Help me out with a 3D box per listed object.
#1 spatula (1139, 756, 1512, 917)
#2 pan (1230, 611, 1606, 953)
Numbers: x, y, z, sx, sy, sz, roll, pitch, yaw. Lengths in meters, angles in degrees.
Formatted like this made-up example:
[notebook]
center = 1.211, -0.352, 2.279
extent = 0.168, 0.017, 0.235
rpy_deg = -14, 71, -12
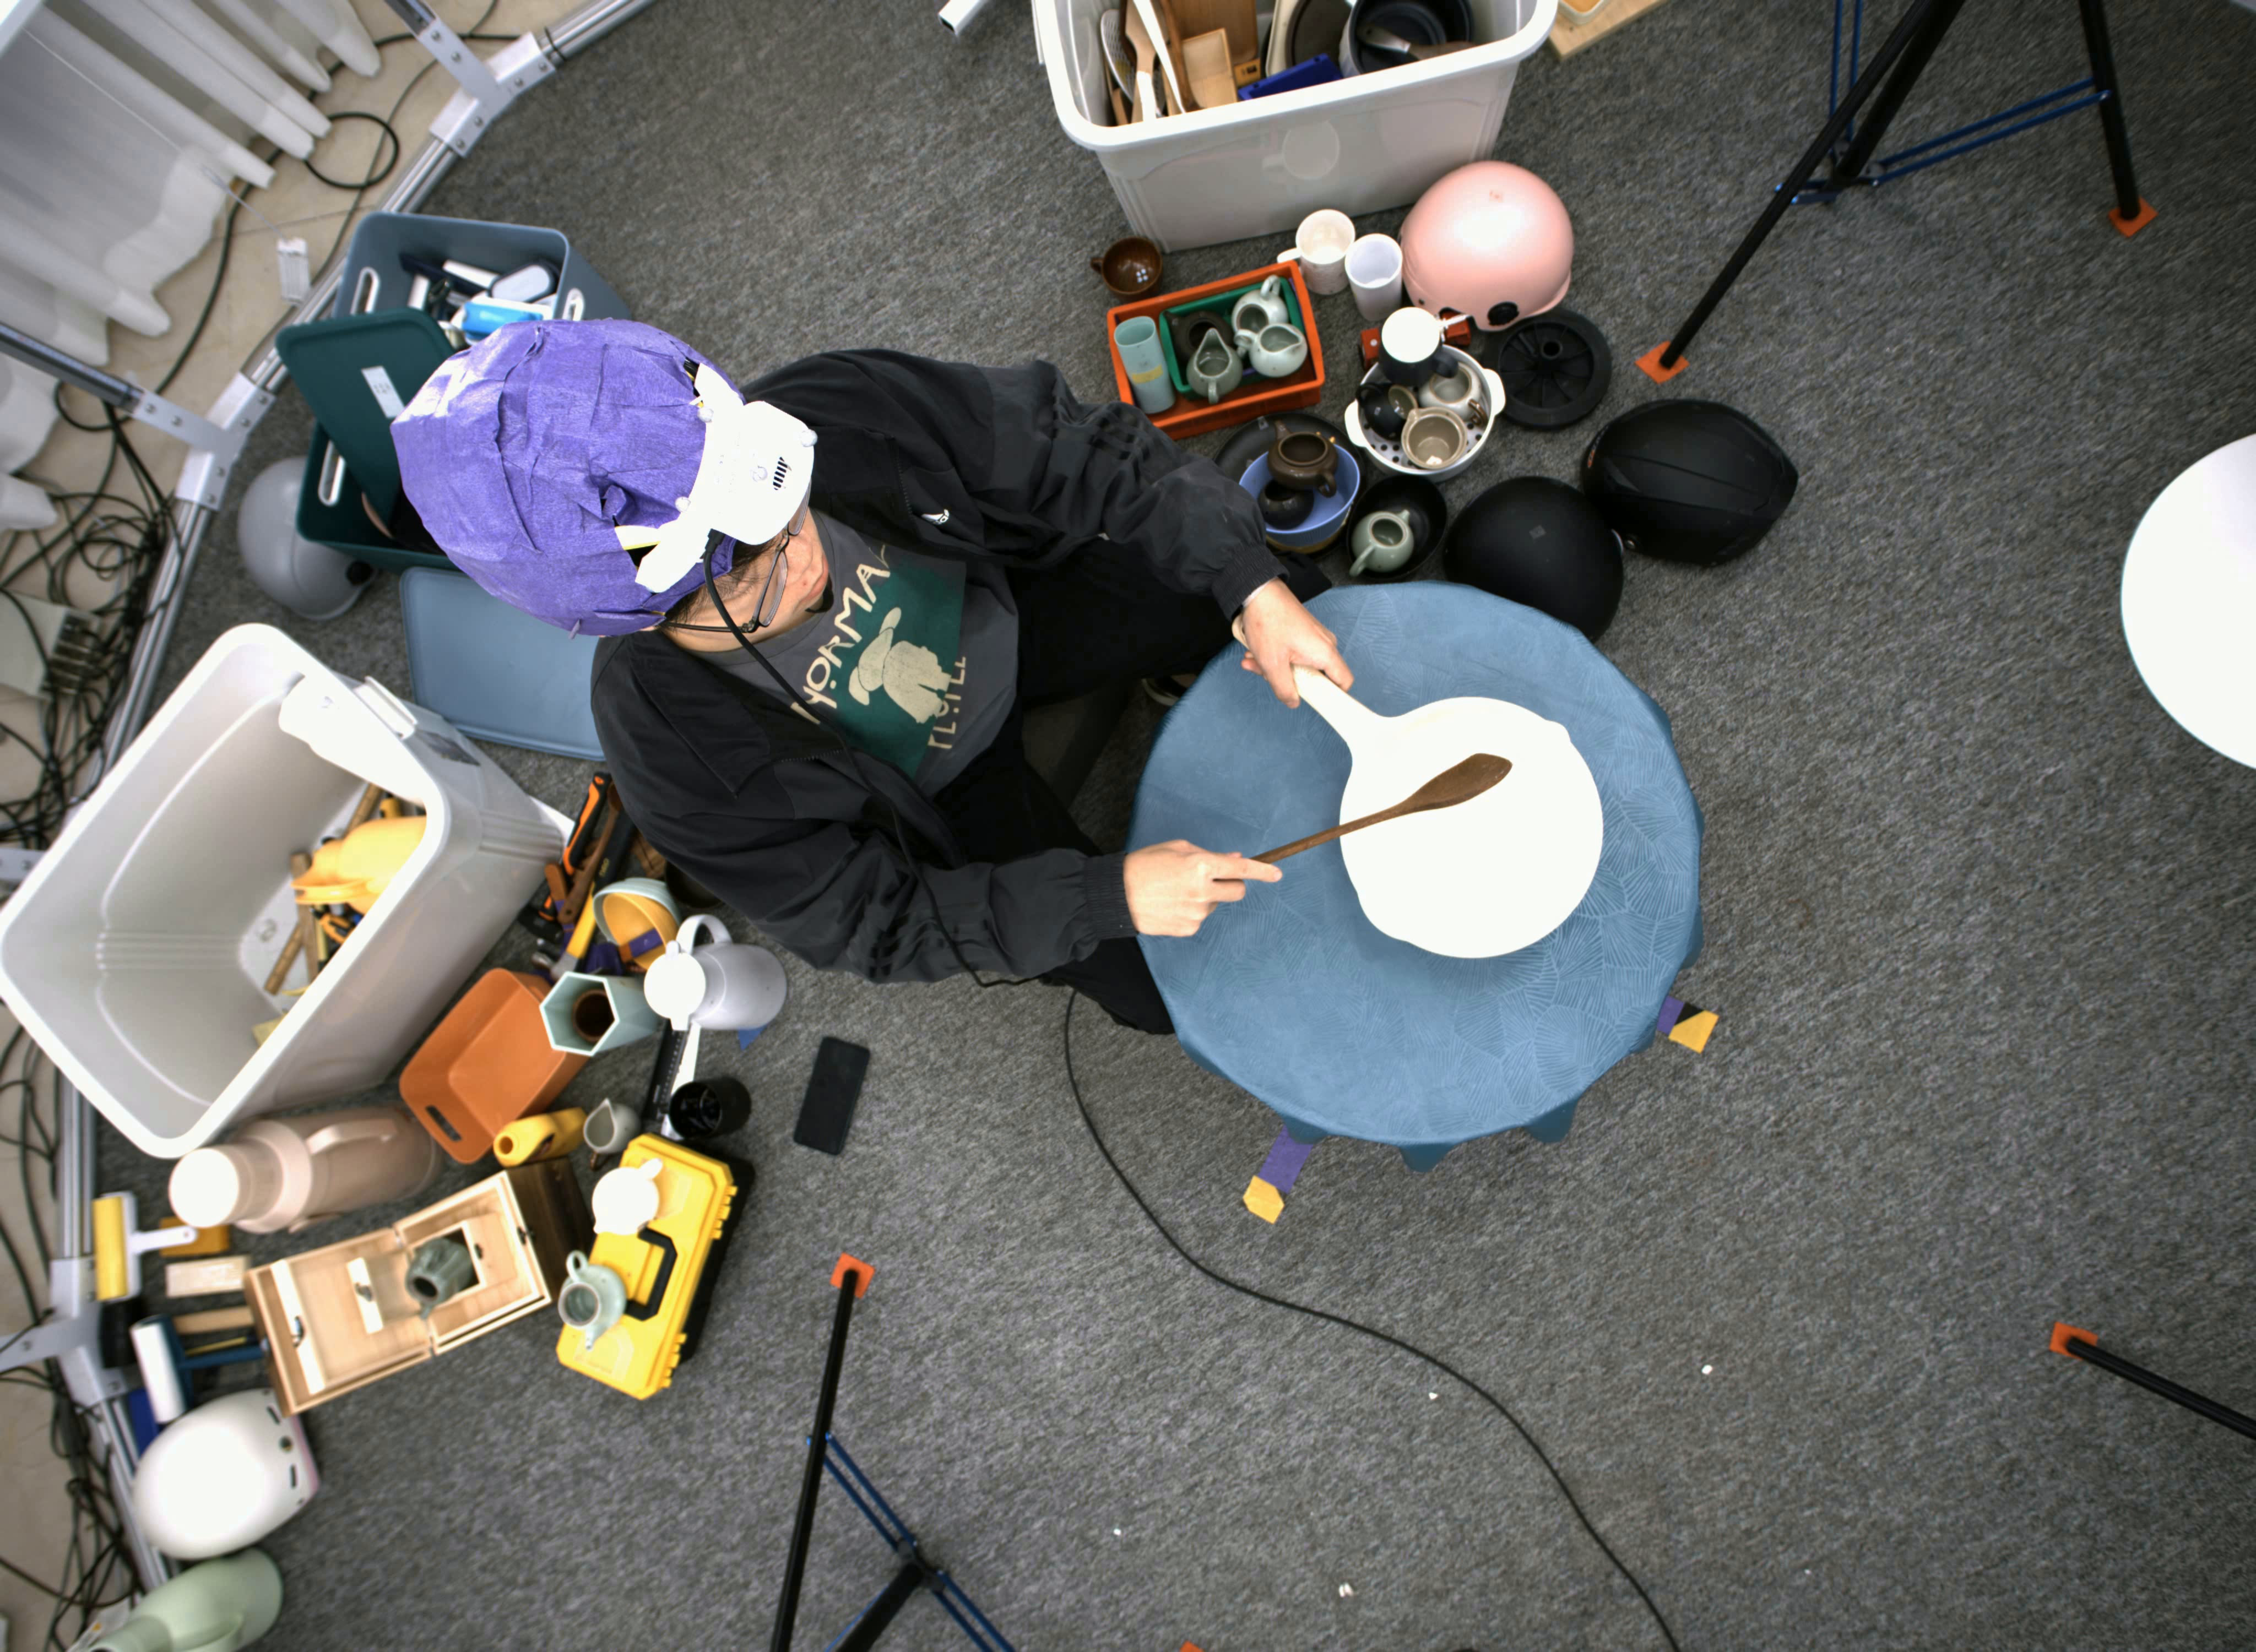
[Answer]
[spatula]
center = 0.189, 0.010, 1.340
extent = 0.387, 0.095, 0.016
rpy_deg = -22, 105, 4
[pan]
center = 0.277, -0.068, 1.371
extent = 0.432, 0.101, 0.267
rpy_deg = 45, 111, 13
